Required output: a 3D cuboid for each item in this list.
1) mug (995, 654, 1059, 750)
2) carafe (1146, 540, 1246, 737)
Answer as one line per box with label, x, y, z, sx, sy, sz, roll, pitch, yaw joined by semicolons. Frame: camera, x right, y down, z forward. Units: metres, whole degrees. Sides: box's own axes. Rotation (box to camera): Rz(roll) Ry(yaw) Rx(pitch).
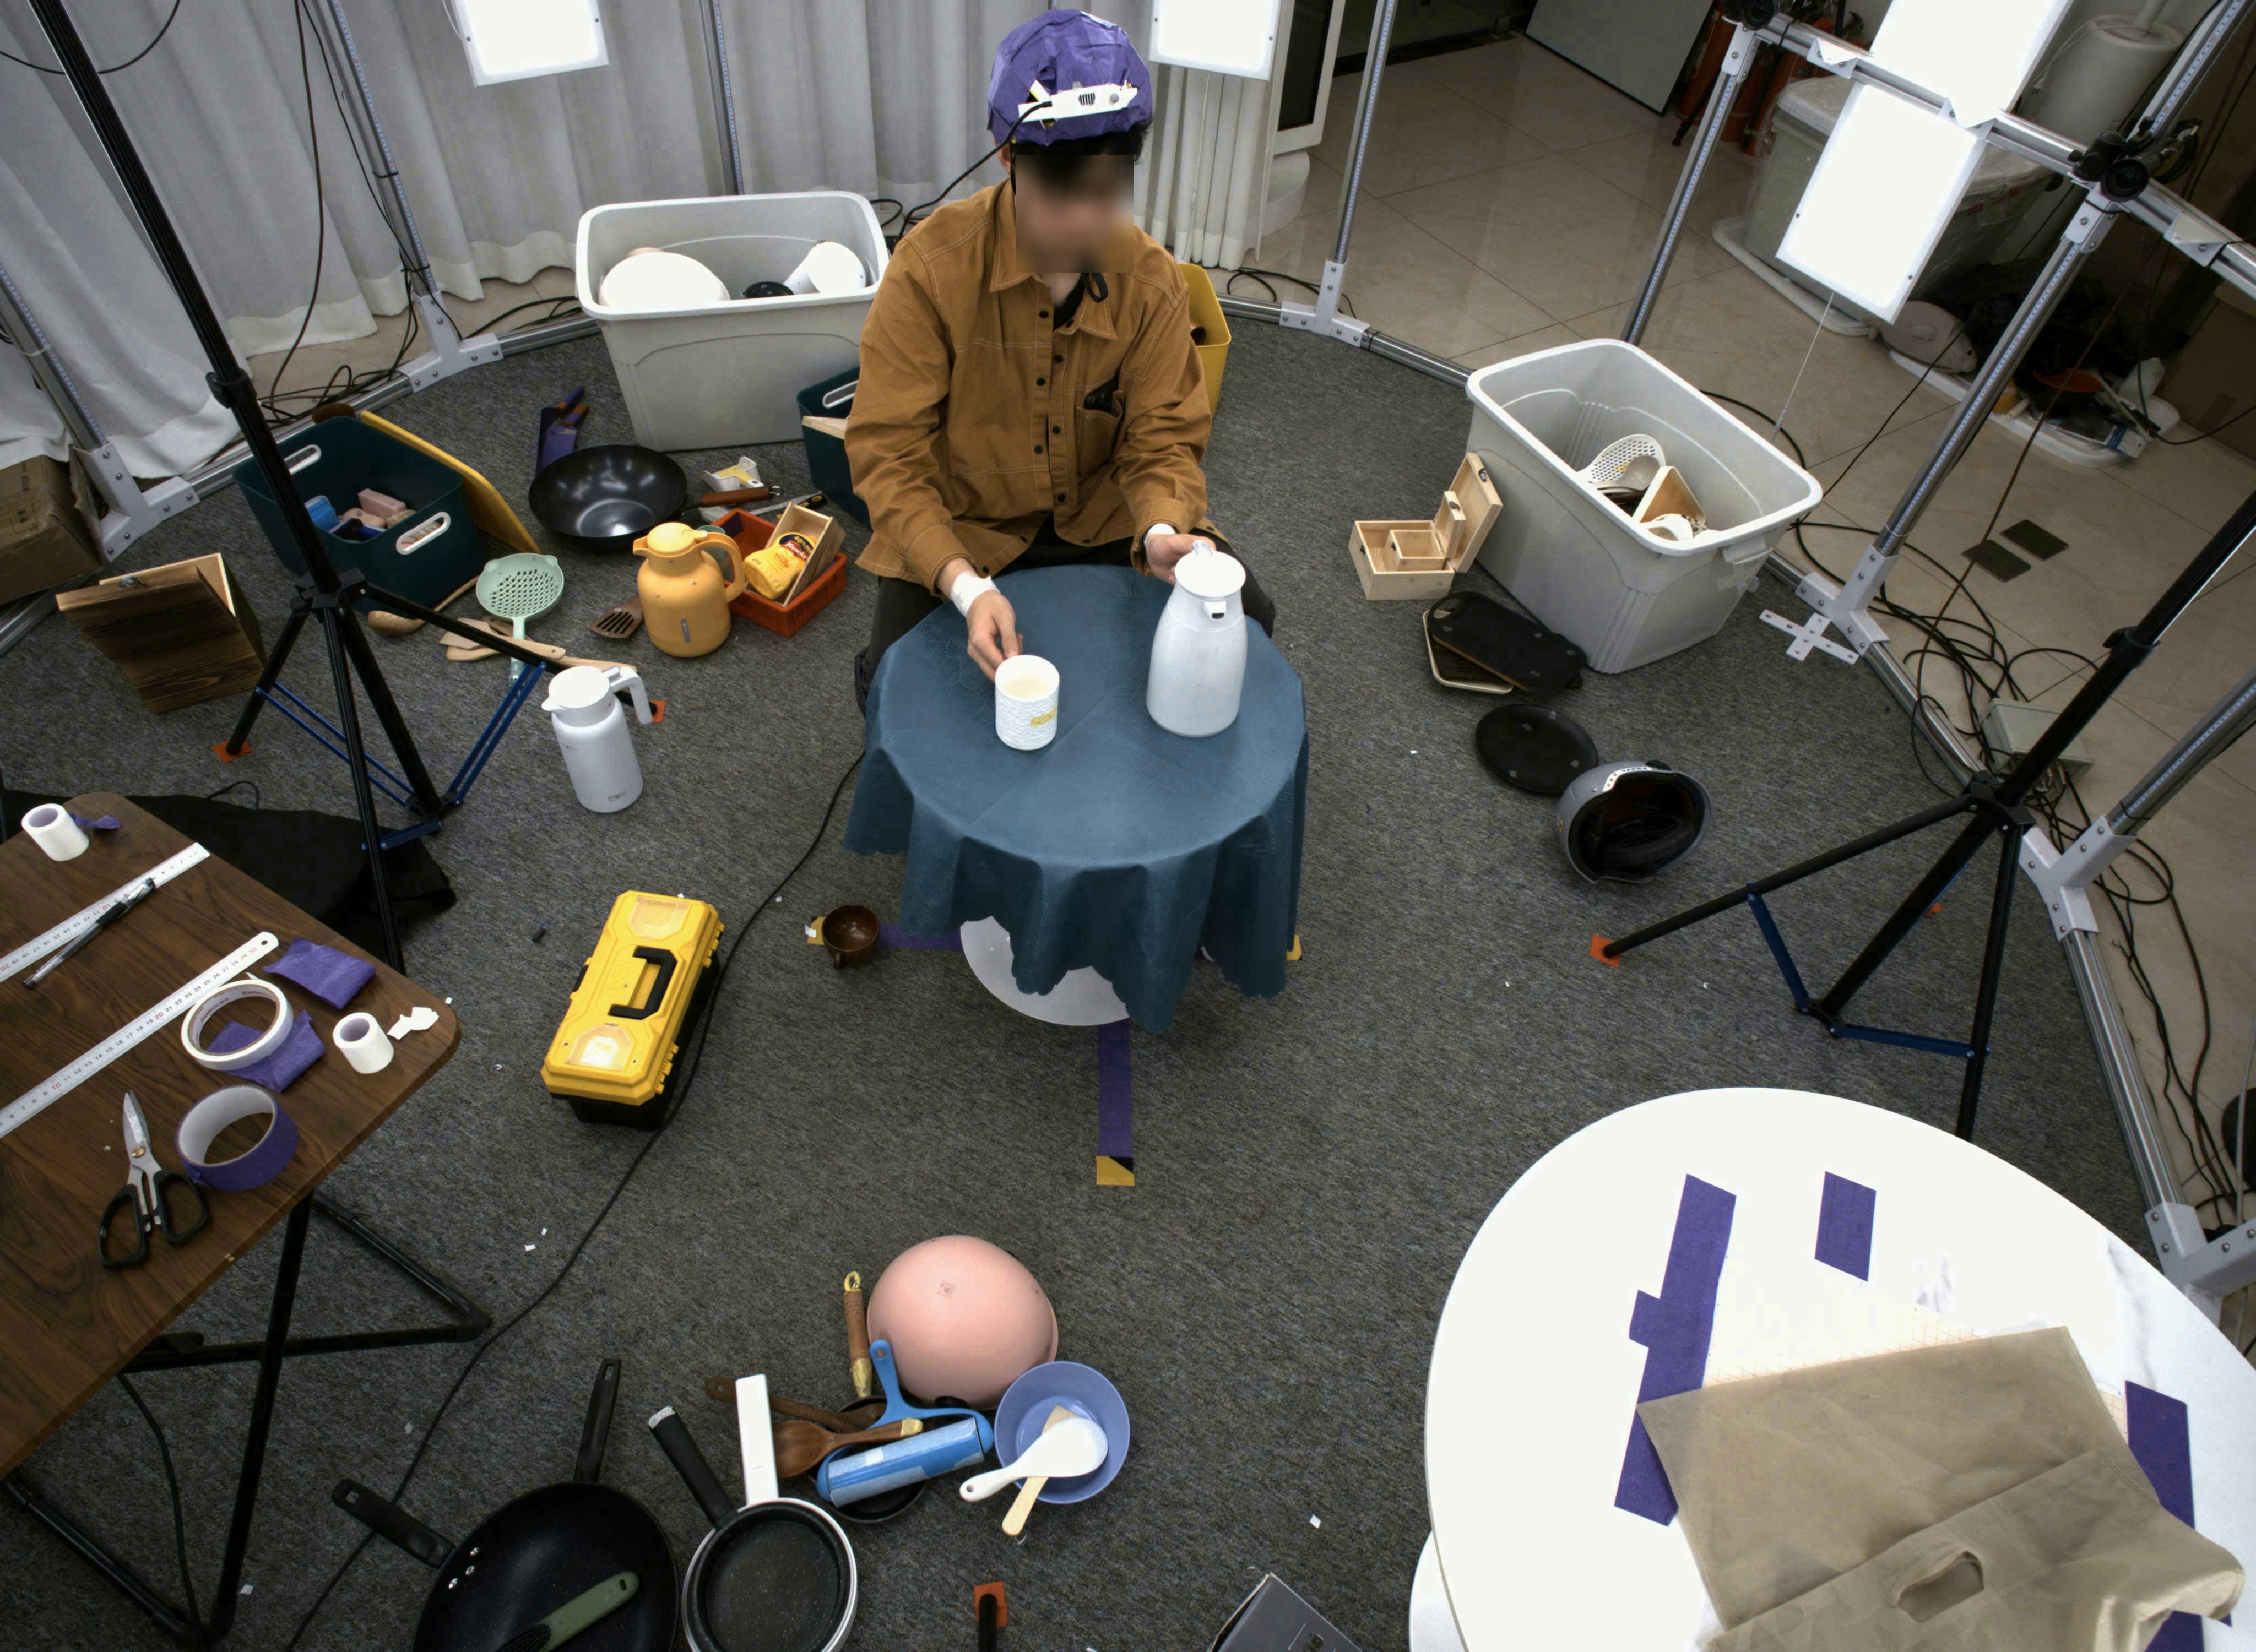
mug;-0.143;-0.176;1.748;0.085;0.099;0.121;-15;51;-17
carafe;0.093;-0.266;1.746;0.132;0.242;0.172;-6;50;-8
